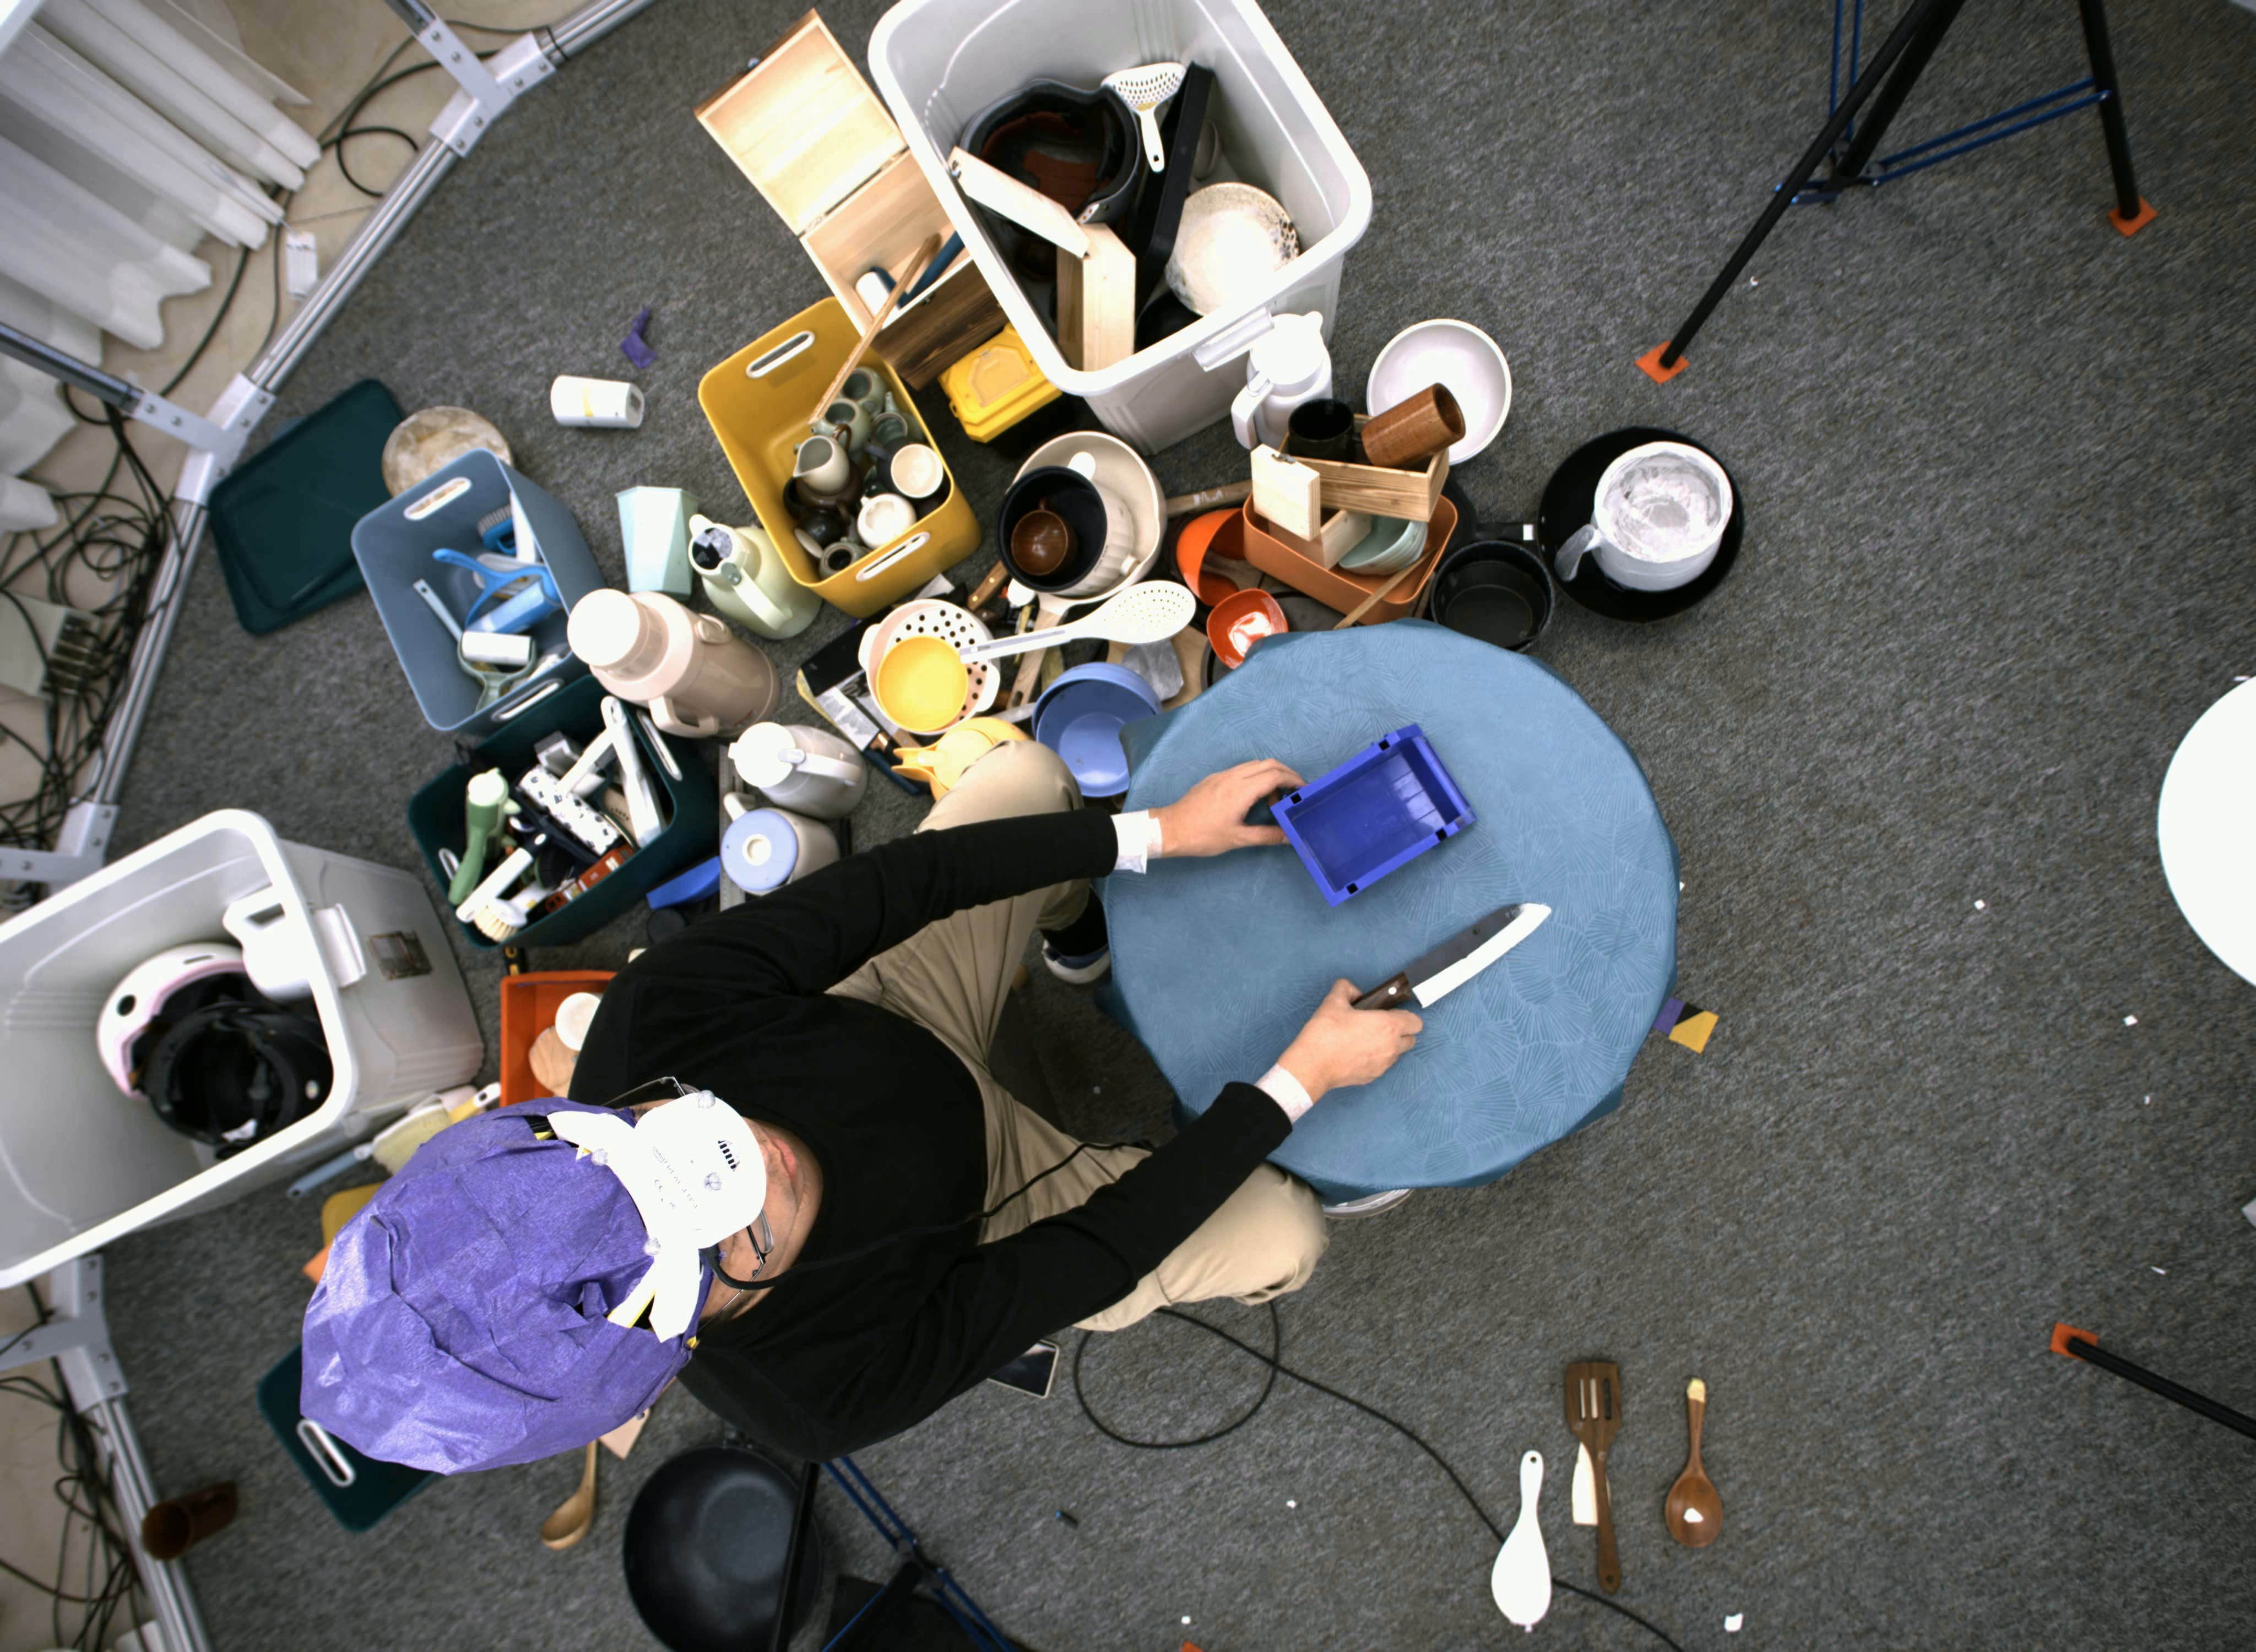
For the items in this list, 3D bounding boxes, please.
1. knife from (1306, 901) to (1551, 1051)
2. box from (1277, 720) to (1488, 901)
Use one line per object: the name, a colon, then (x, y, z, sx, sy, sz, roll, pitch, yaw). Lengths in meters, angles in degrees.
knife: (0.314, 0.153, 1.435, 0.290, 0.020, 0.050, -30, 85, 3)
box: (0.263, -0.020, 1.425, 0.181, 0.082, 0.123, -31, 81, 10)
